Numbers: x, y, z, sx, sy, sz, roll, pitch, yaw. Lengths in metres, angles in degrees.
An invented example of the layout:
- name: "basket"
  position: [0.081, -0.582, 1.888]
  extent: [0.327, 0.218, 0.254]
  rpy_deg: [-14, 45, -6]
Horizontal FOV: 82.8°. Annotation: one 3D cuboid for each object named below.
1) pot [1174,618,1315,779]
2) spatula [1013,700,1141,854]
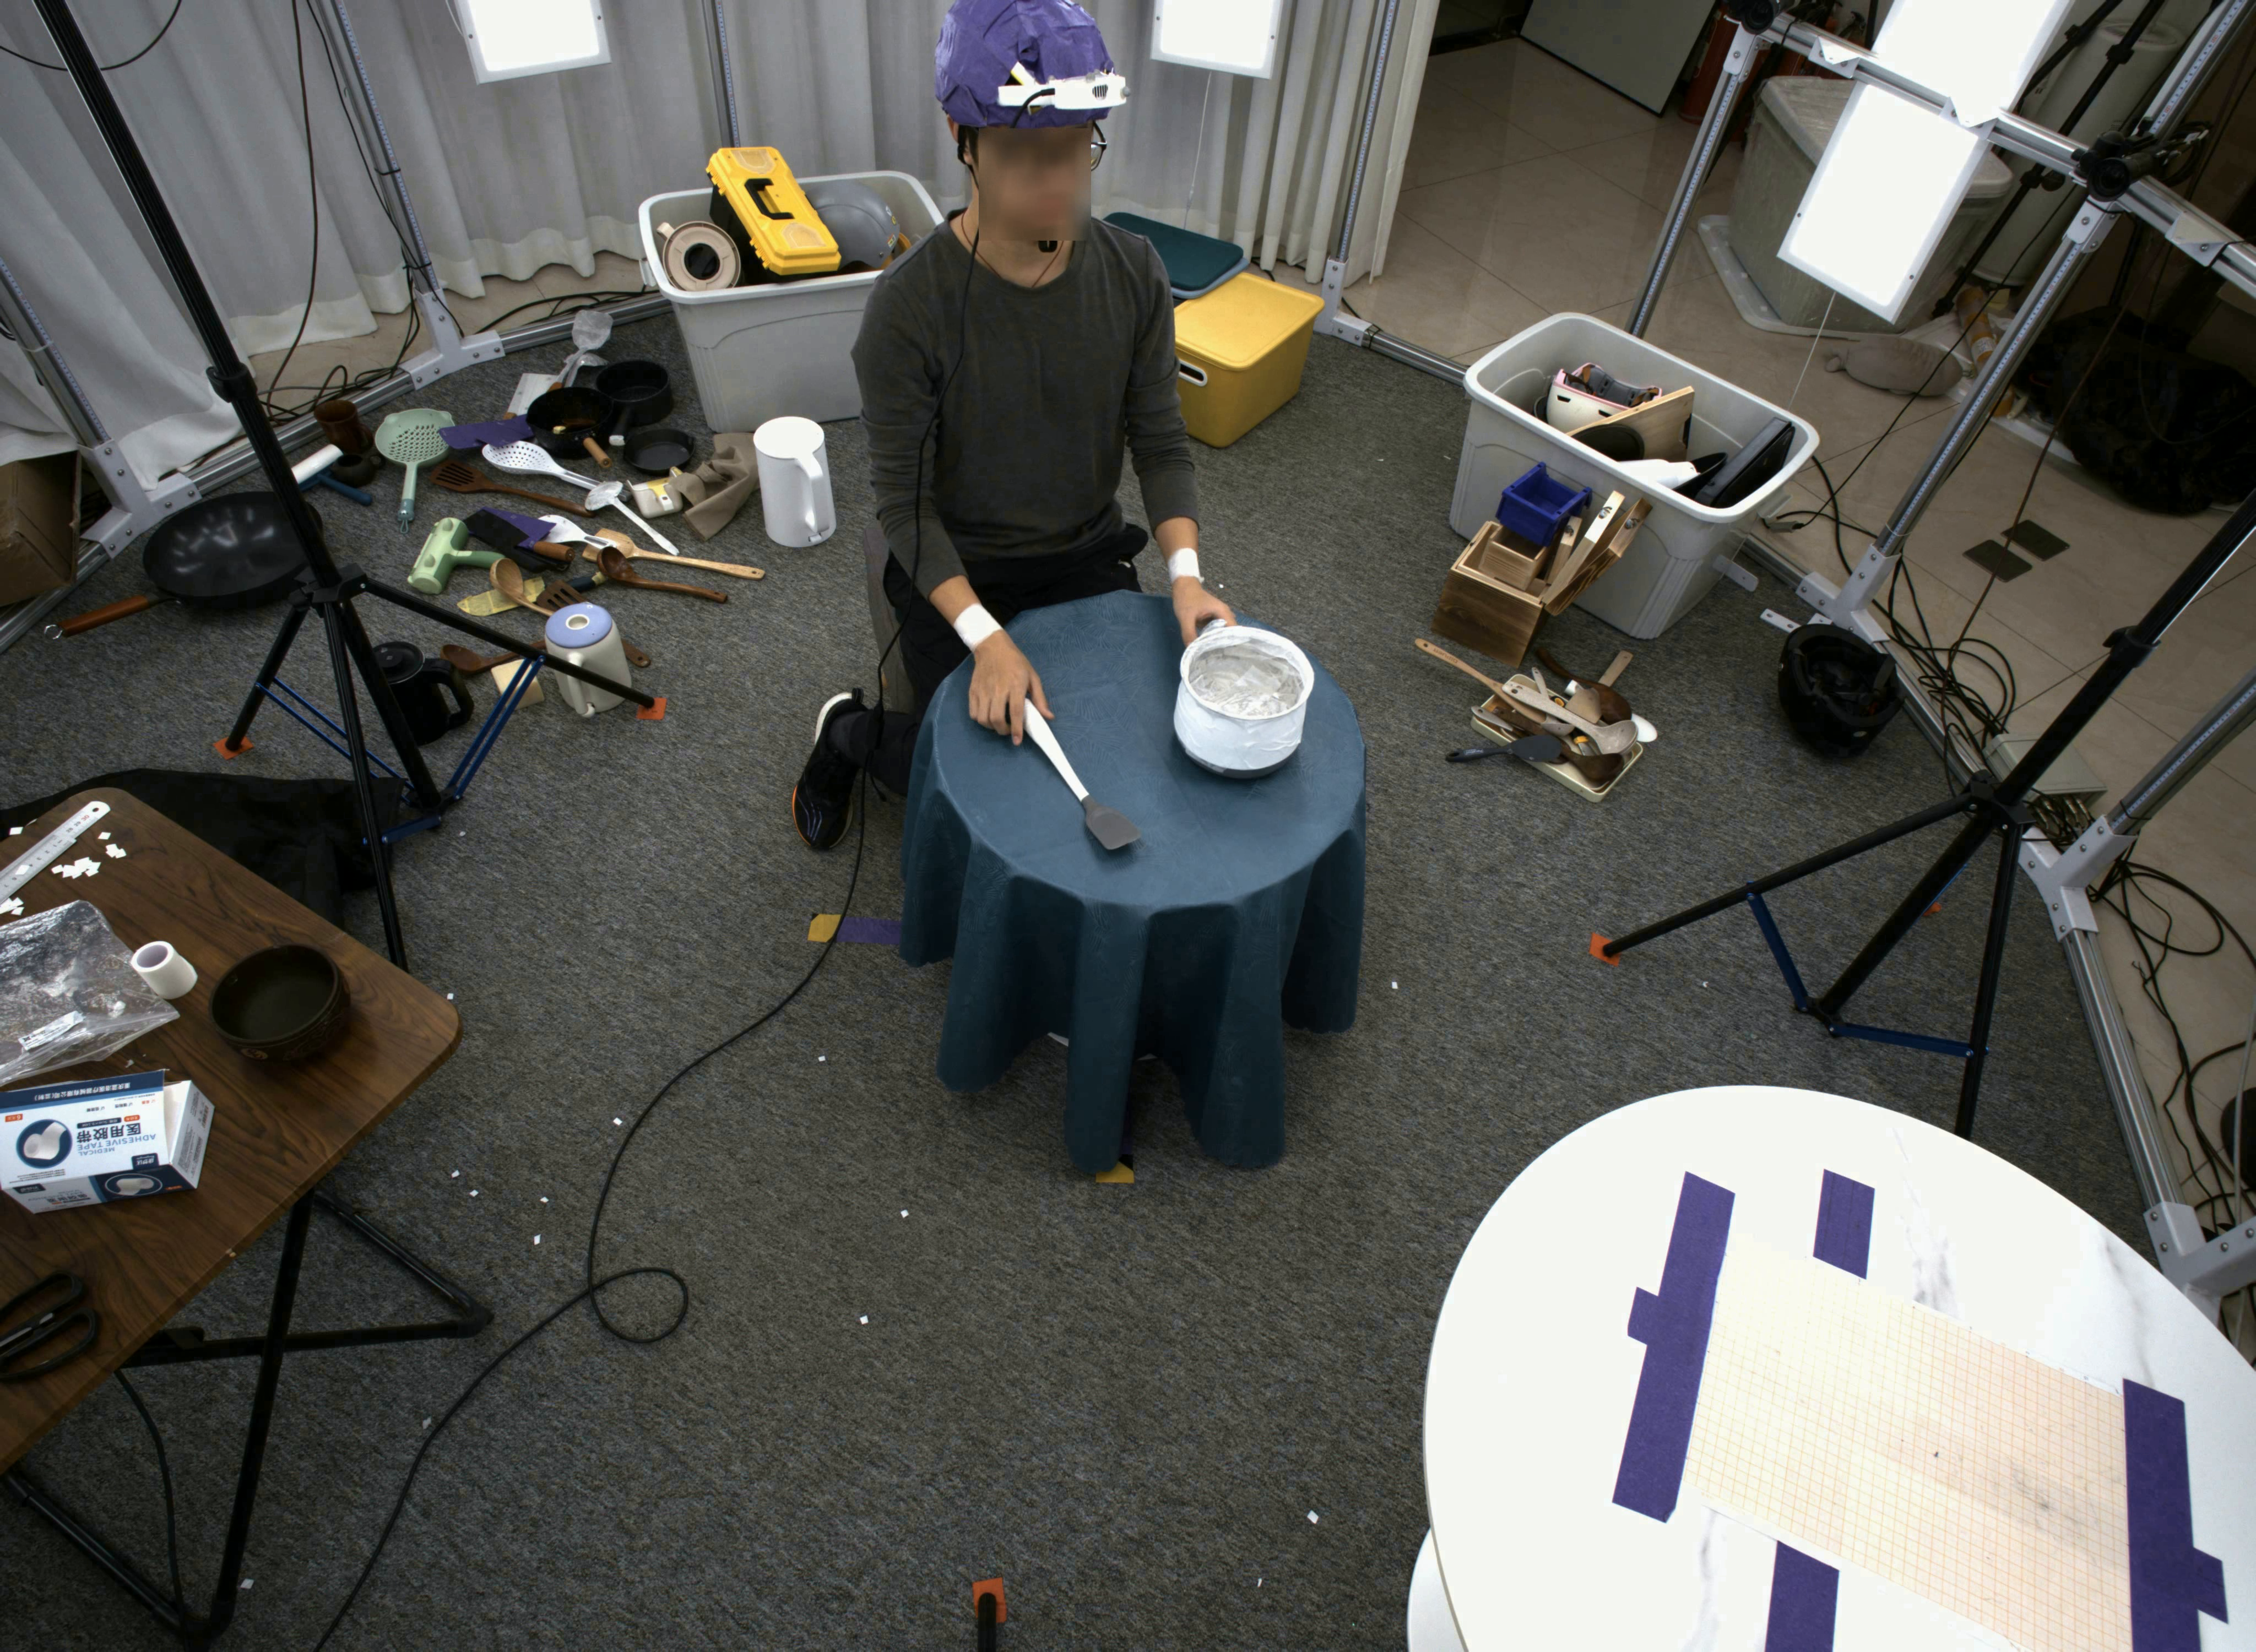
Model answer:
- name: "pot"
  position: [0.144, -0.184, 1.748]
  extent: [0.178, 0.133, 0.239]
  rpy_deg: [-12, 51, -15]
- name: "spatula"
  position: [-0.075, -0.065, 1.698]
  extent: [0.059, 0.031, 0.294]
  rpy_deg: [-20, 53, -23]
